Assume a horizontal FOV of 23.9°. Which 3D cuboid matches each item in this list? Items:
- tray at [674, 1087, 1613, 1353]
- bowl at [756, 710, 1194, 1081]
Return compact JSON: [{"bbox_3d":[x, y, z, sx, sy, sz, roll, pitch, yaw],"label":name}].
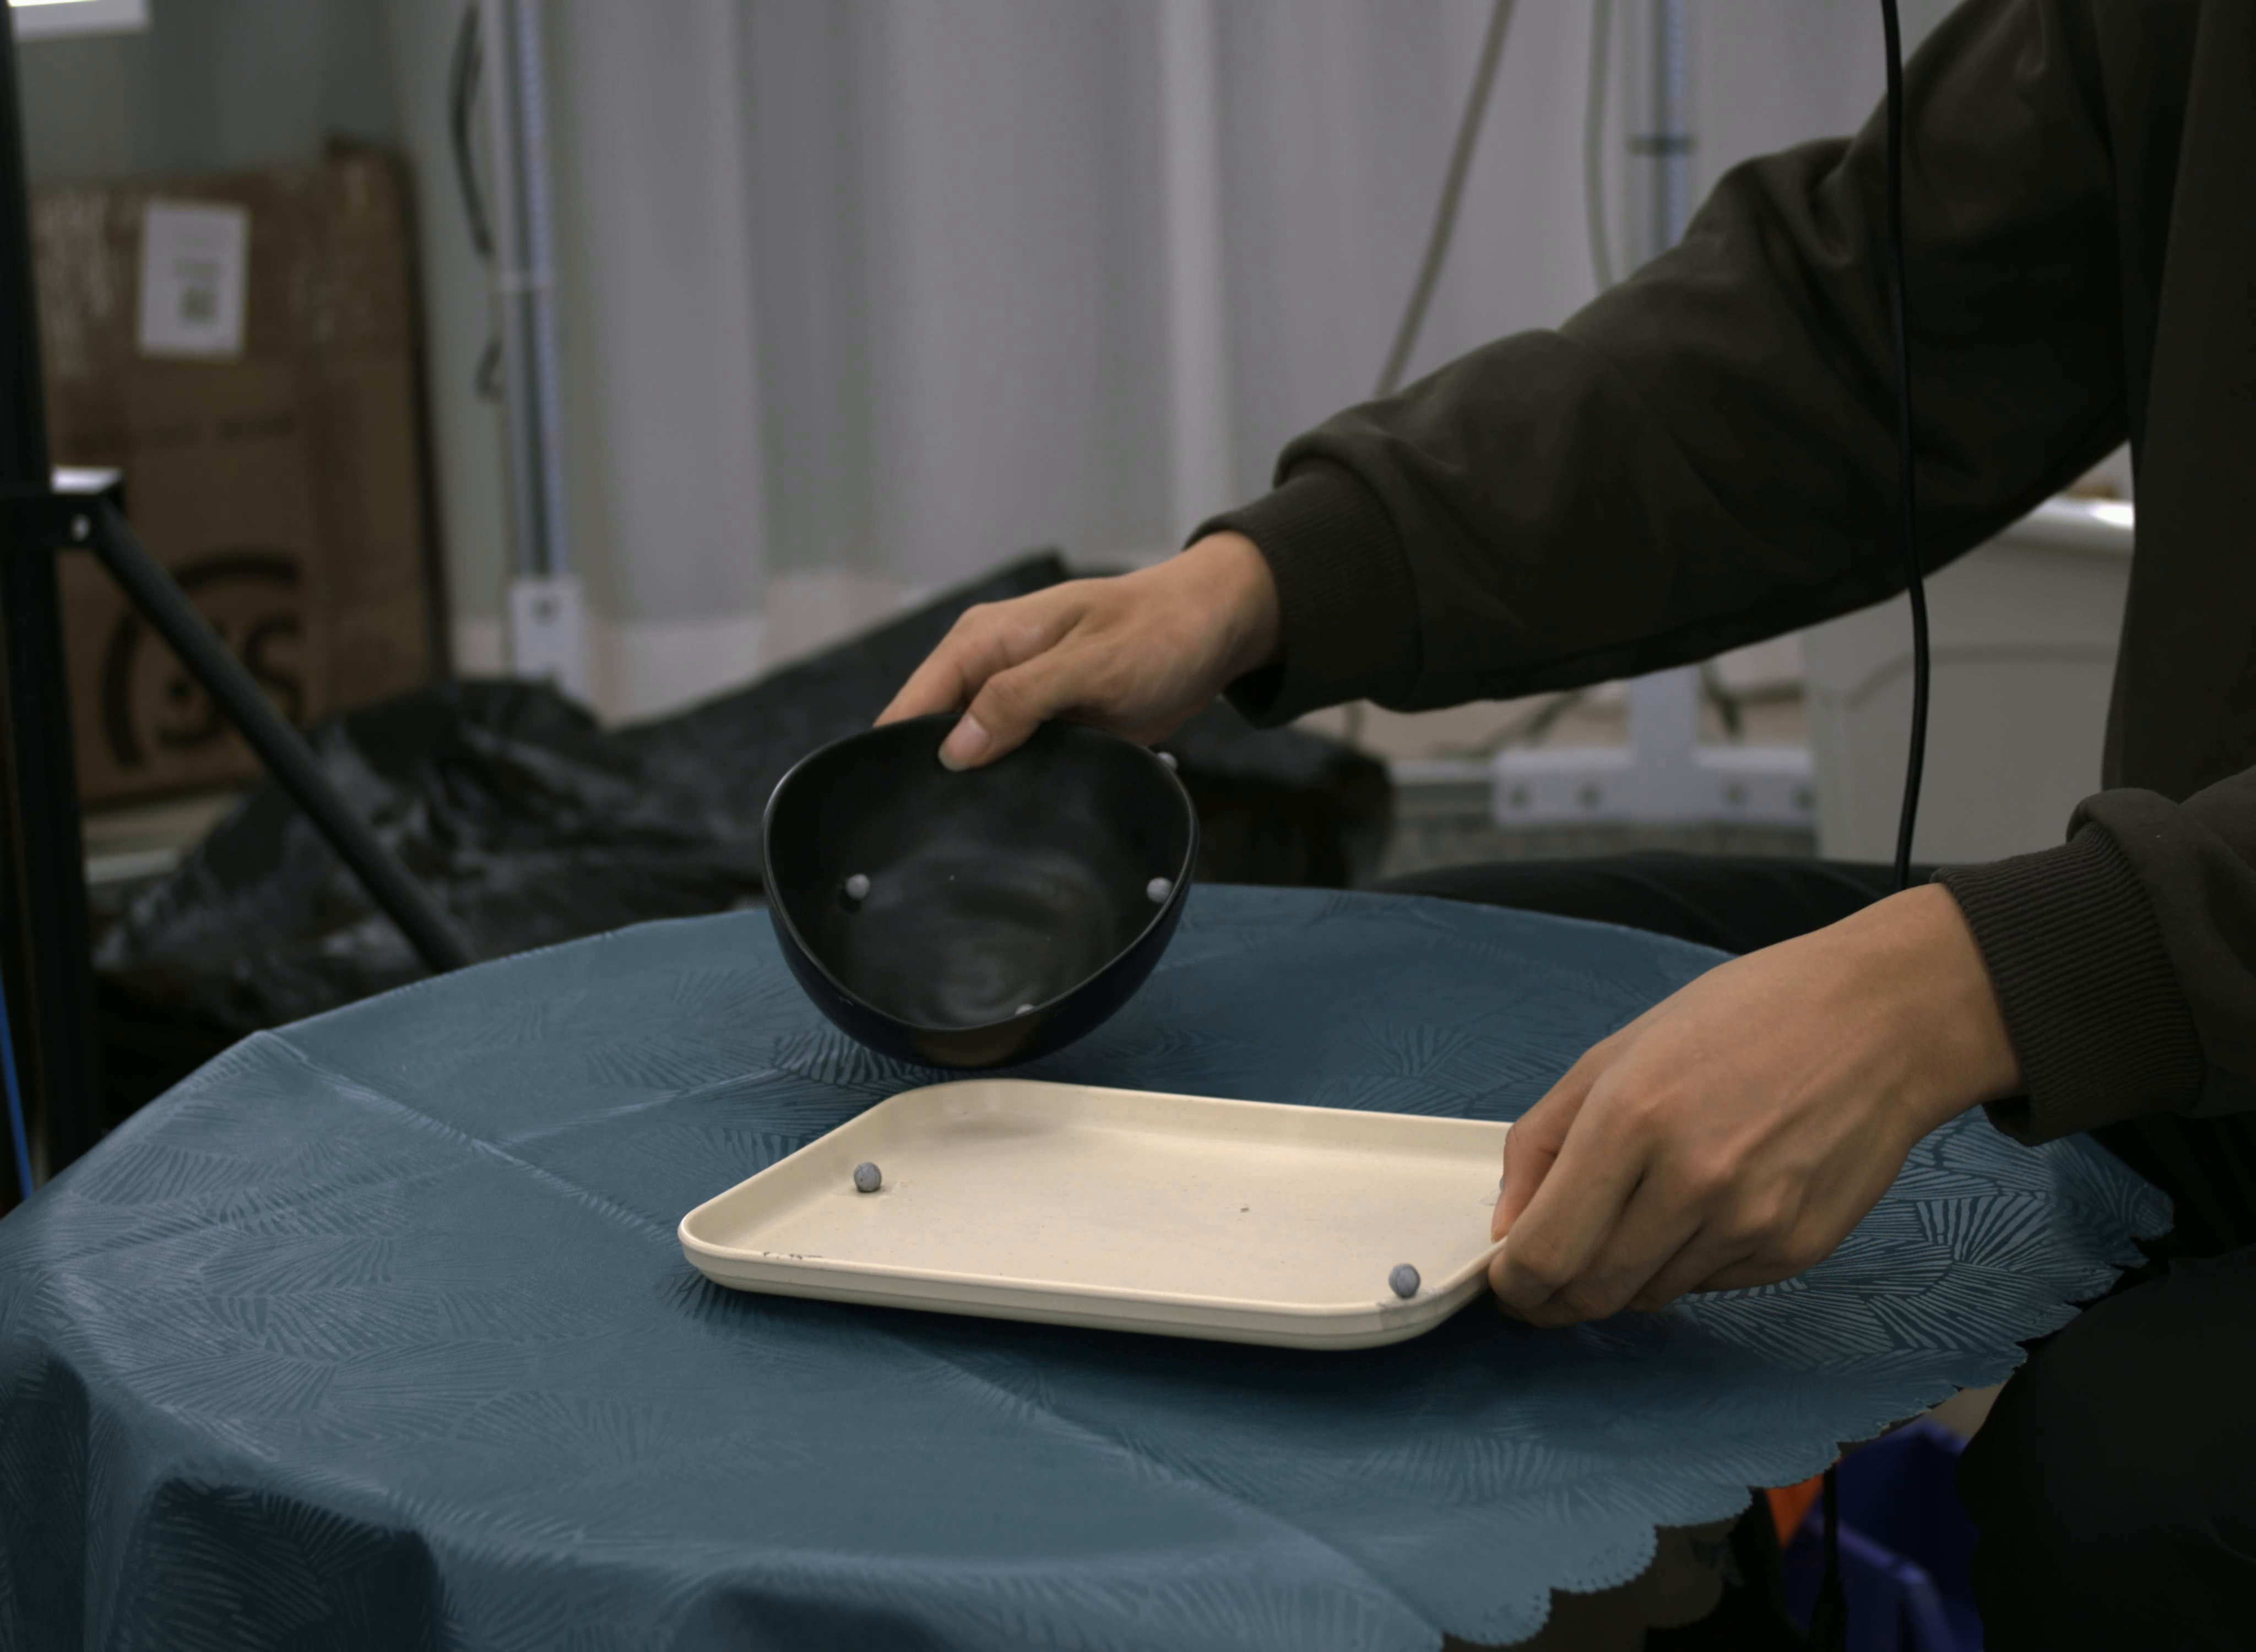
[{"bbox_3d":[0.006,0.110,1.500,0.244,0.017,0.168,3,15,29],"label":"tray"},{"bbox_3d":[-0.047,0.032,1.676,0.137,0.066,0.171,0,35,5],"label":"bowl"}]
